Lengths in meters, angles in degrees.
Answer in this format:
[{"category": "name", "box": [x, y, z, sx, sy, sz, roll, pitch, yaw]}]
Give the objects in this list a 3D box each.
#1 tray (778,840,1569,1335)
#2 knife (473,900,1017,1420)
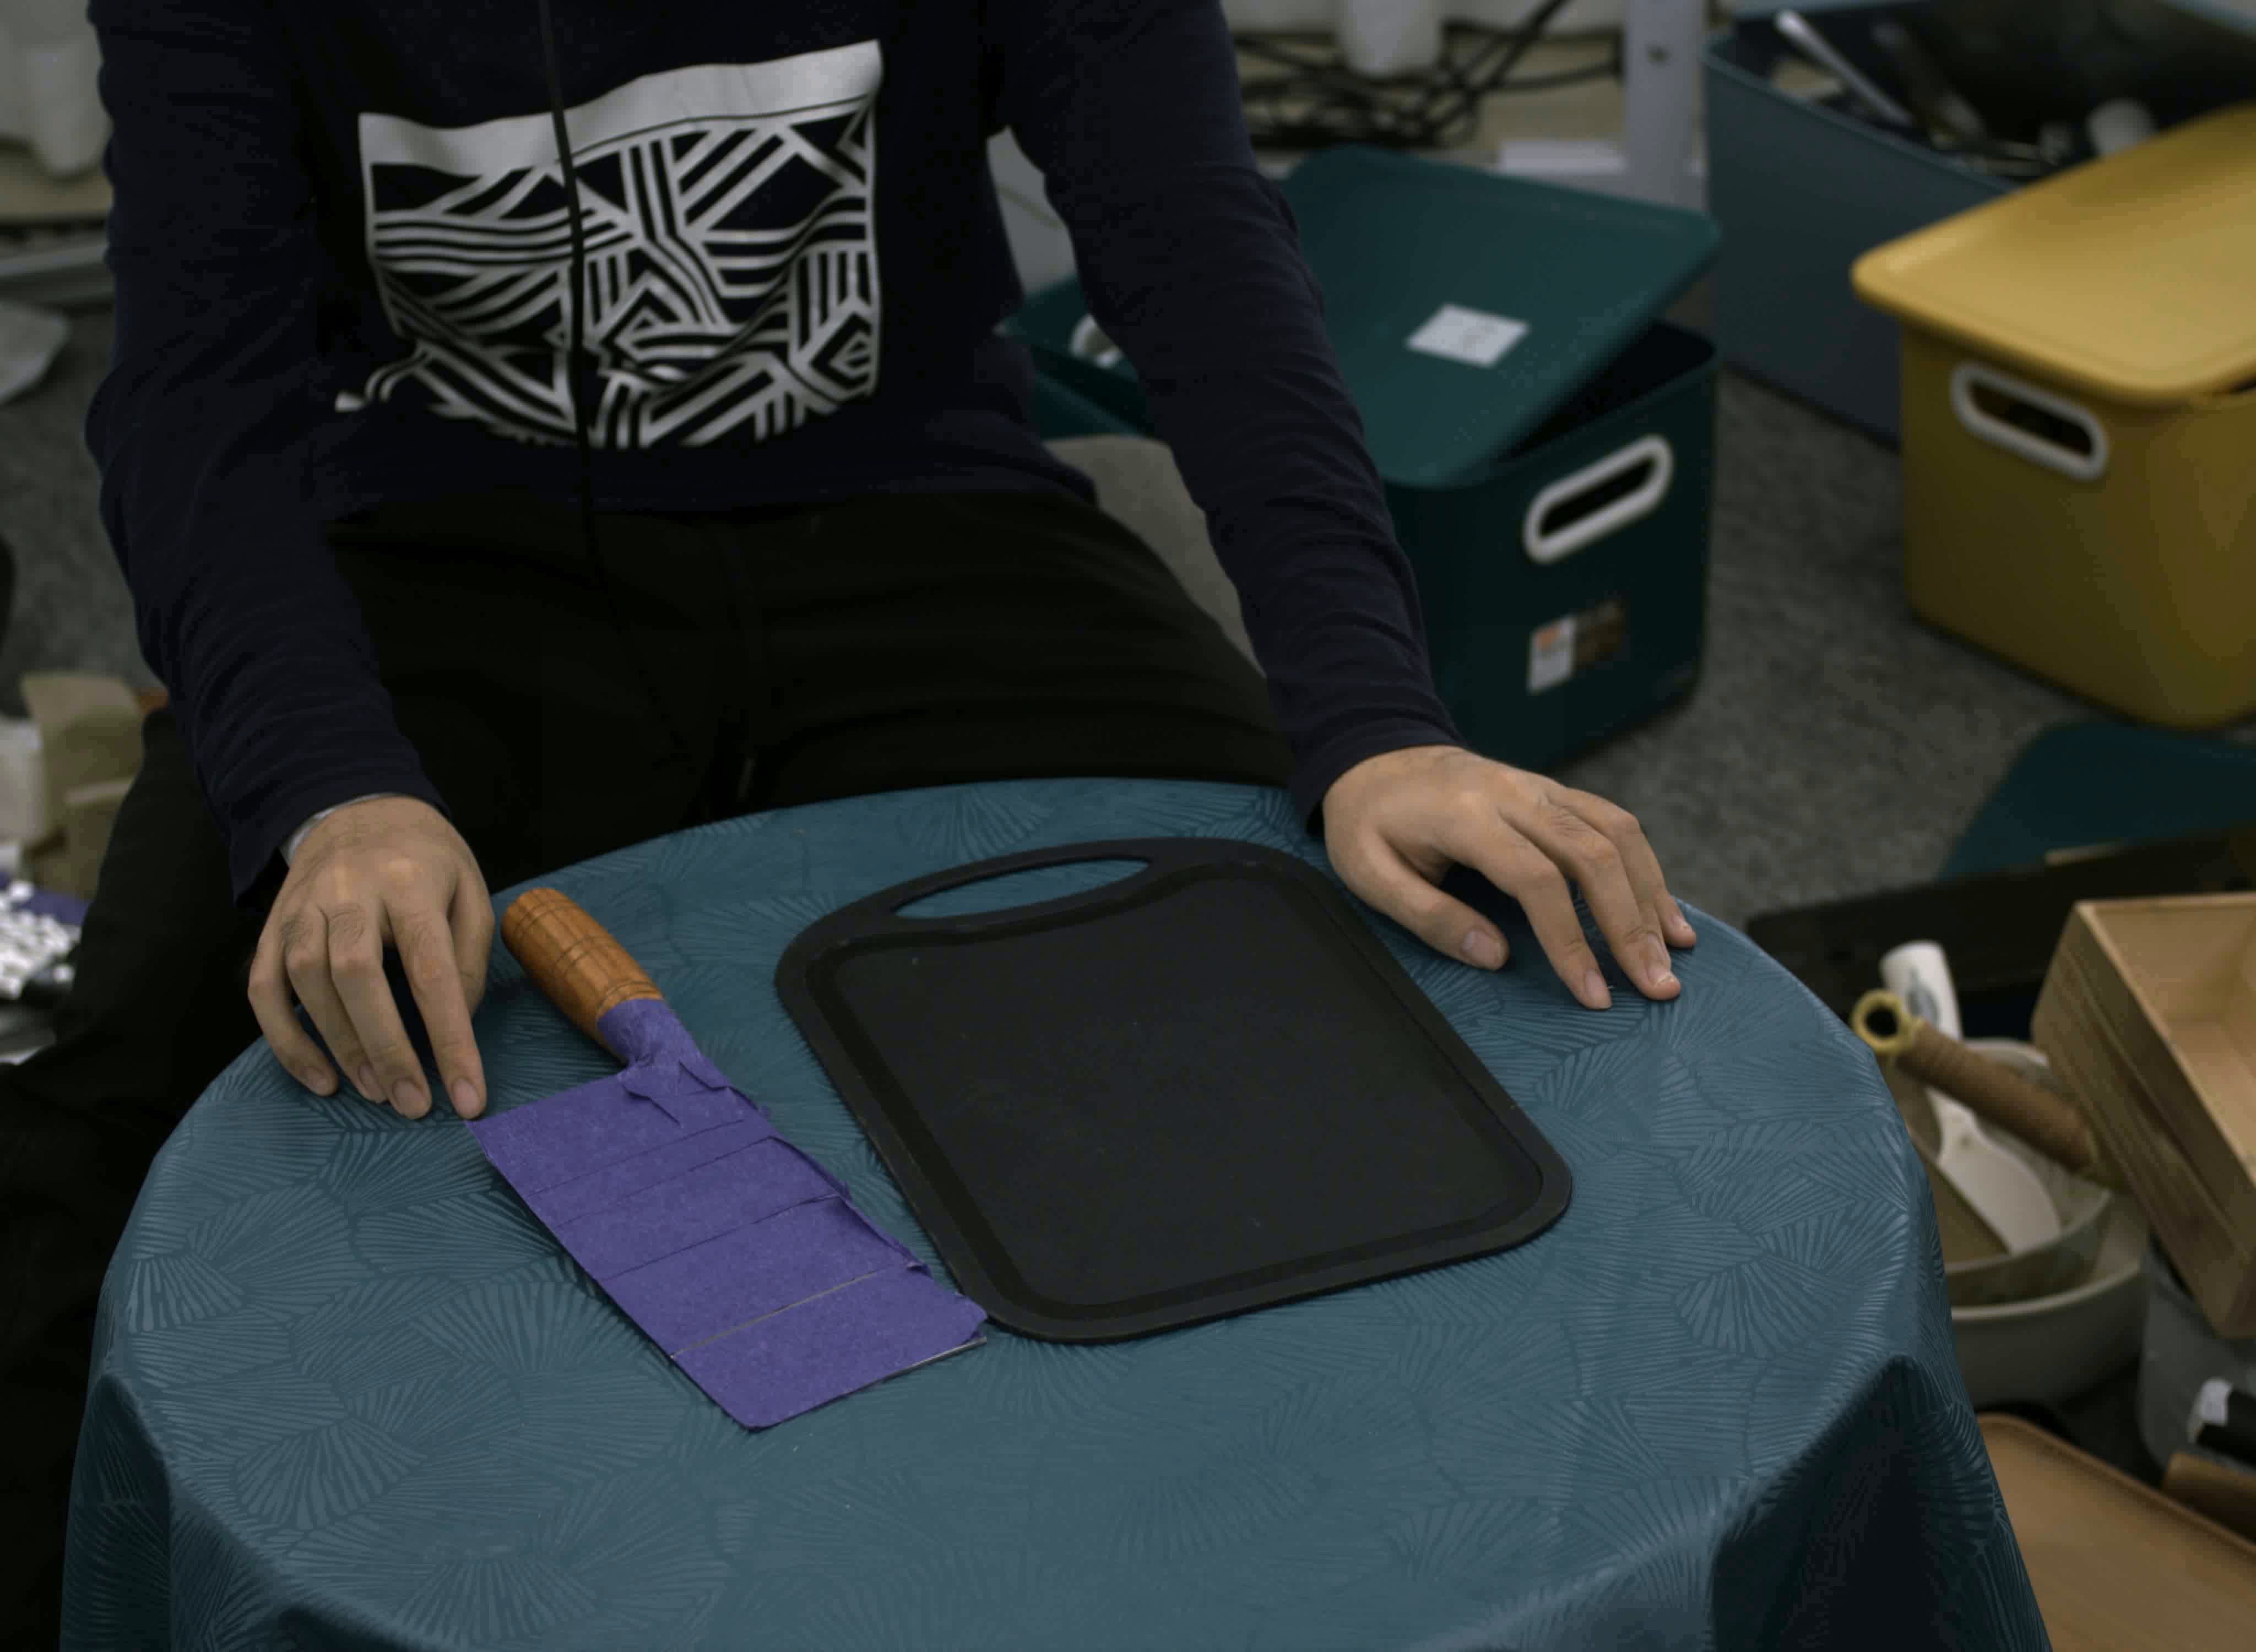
[{"category": "tray", "box": [0.006, 0.080, 1.934, 0.211, 0.009, 0.328, -11, 28, -16]}, {"category": "knife", "box": [-0.159, 0.107, 1.875, 0.104, 0.032, 0.316, -18, 31, -27]}]
